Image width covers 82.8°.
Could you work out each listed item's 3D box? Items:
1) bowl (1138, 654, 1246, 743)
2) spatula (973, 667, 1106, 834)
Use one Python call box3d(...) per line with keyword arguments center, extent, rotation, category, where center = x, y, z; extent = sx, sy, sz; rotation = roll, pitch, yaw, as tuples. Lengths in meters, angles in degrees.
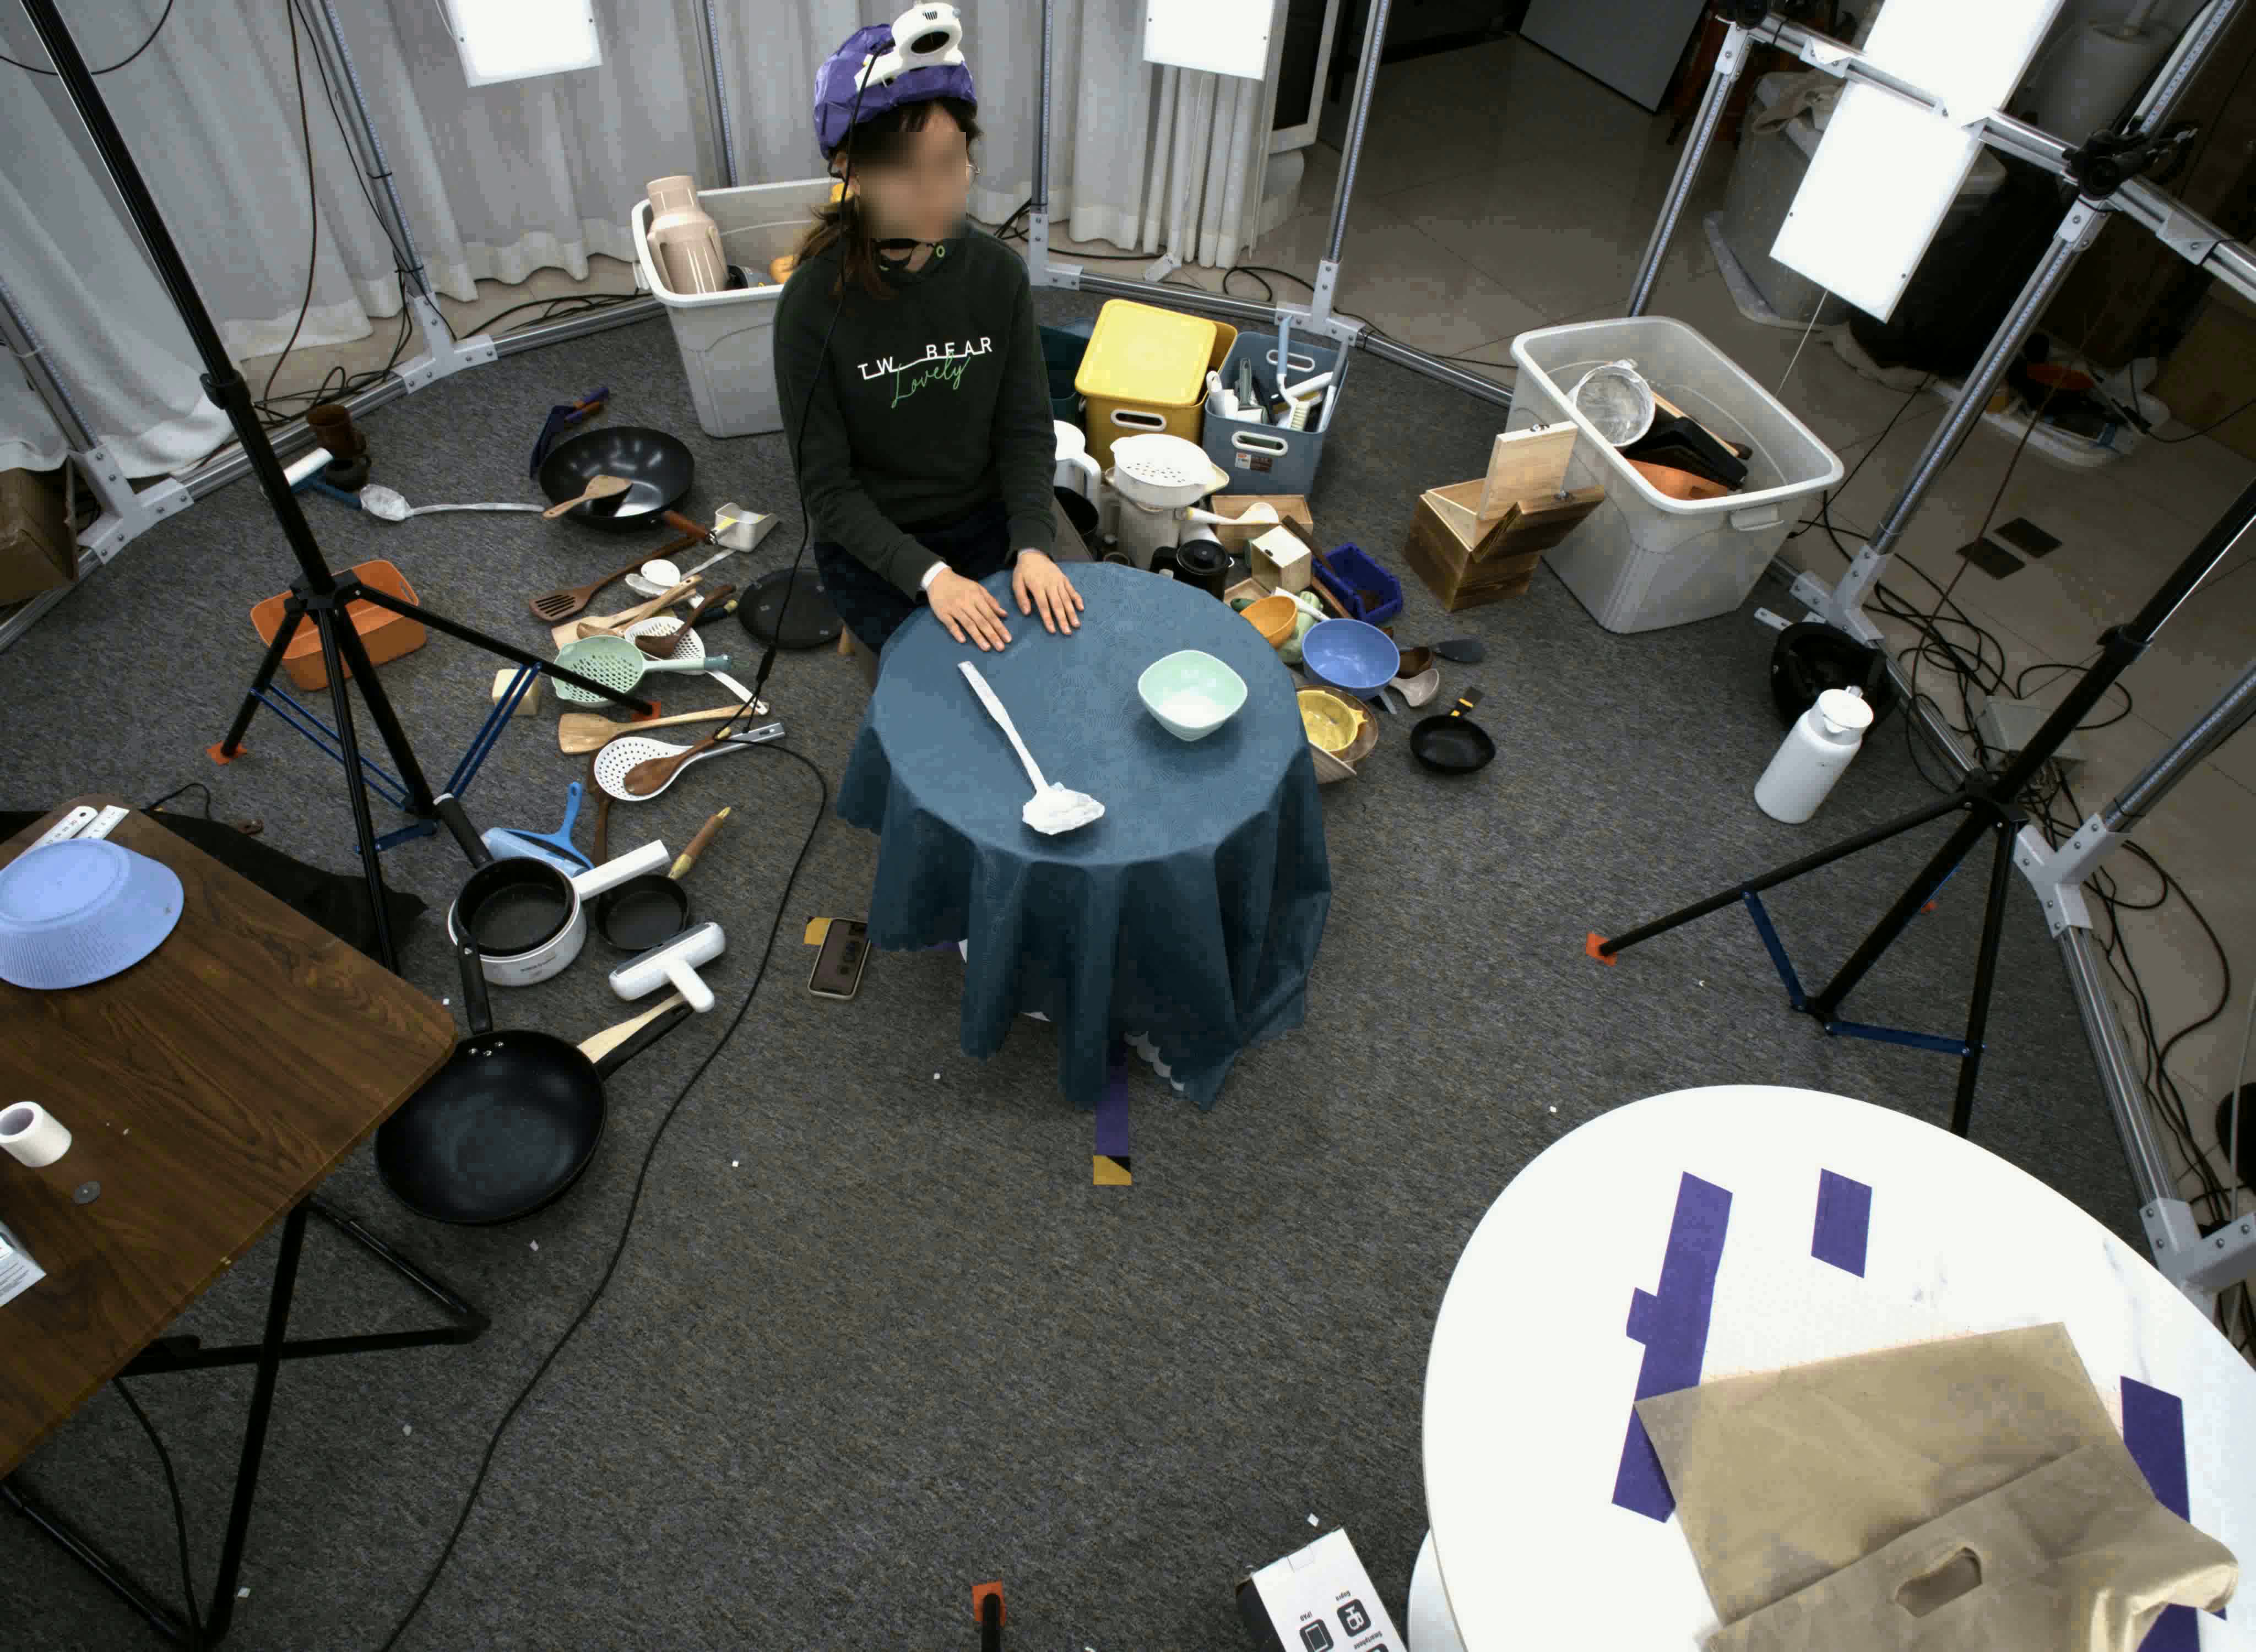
box3d(center=(0.086, -0.171, 1.803), extent=(0.151, 0.057, 0.155), rotation=(3, 47, -4), category="bowl")
box3d(center=(-0.143, -0.114, 1.748), extent=(0.099, 0.043, 0.373), rotation=(-19, 53, -17), category="spatula")
